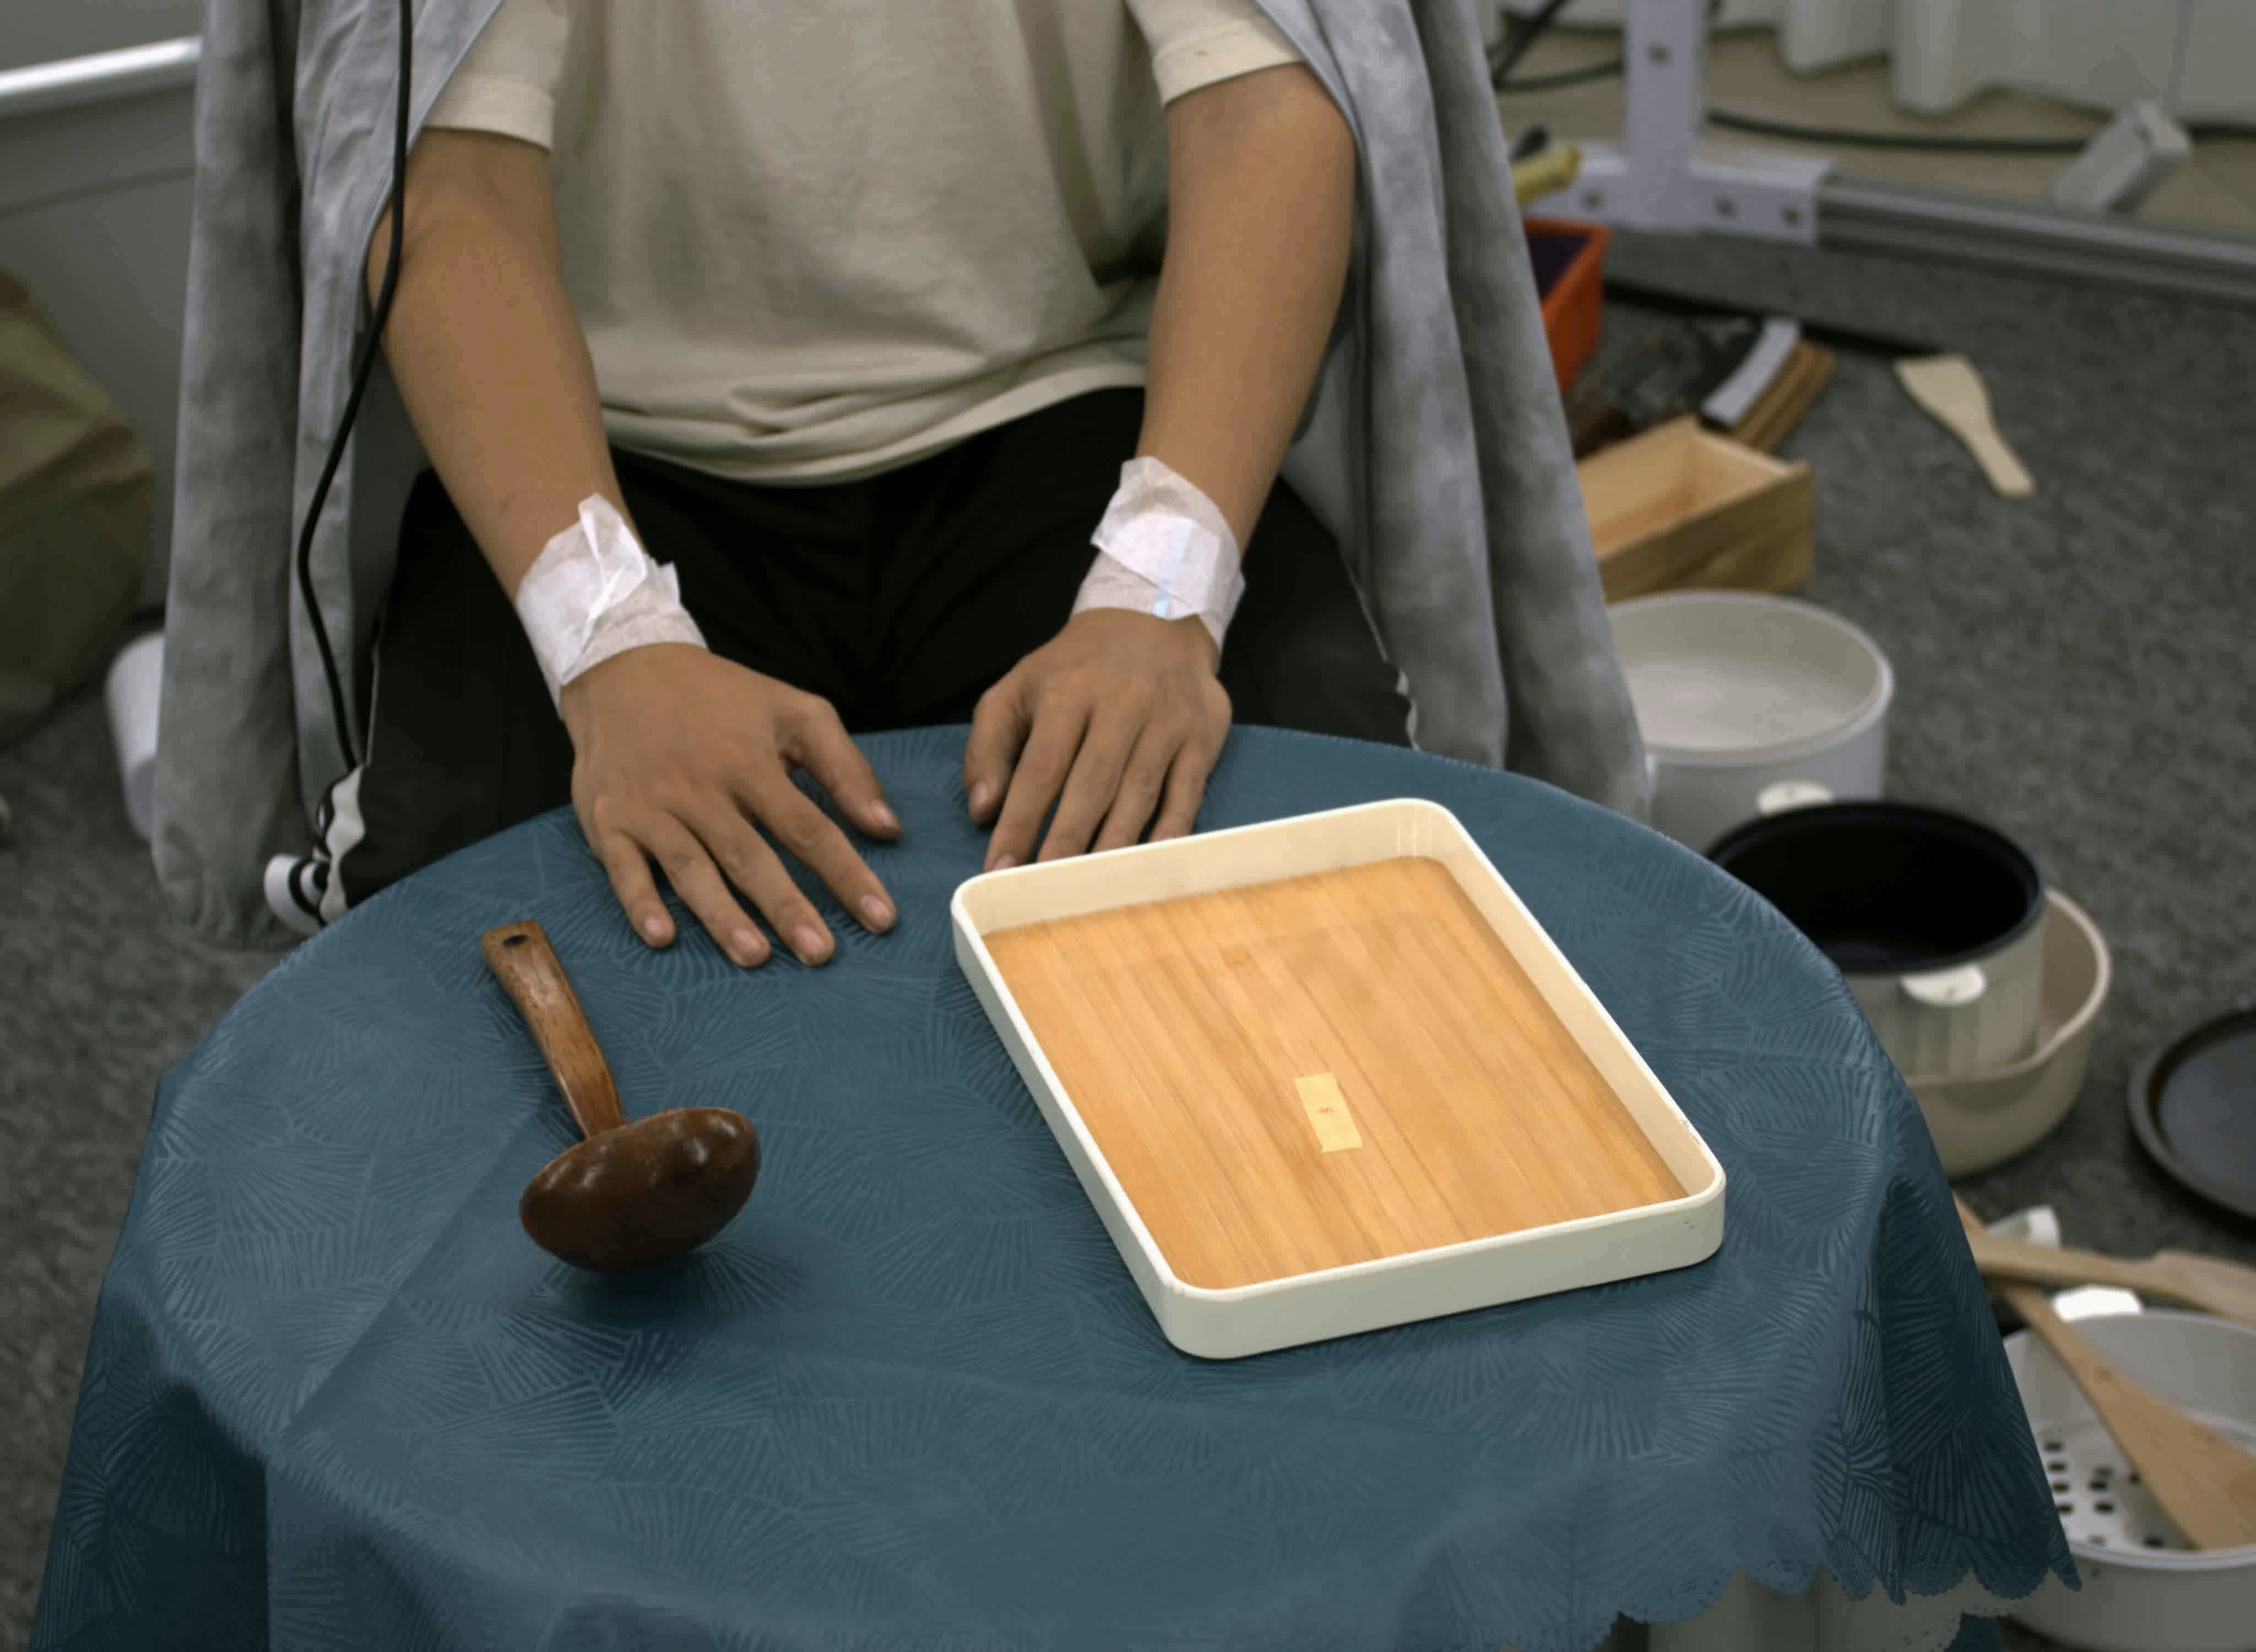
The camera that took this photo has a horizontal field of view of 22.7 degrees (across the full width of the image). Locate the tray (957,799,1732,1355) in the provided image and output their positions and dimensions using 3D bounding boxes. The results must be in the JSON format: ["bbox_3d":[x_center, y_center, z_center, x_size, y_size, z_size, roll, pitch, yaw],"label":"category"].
[{"bbox_3d":[0.067,0.079,1.905,0.191,0.027,0.303,-10,28,-13],"label":"tray"}]

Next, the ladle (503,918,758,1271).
[{"bbox_3d":[-0.186,0.071,1.894,0.082,0.076,0.277,-13,29,-11],"label":"ladle"}]
